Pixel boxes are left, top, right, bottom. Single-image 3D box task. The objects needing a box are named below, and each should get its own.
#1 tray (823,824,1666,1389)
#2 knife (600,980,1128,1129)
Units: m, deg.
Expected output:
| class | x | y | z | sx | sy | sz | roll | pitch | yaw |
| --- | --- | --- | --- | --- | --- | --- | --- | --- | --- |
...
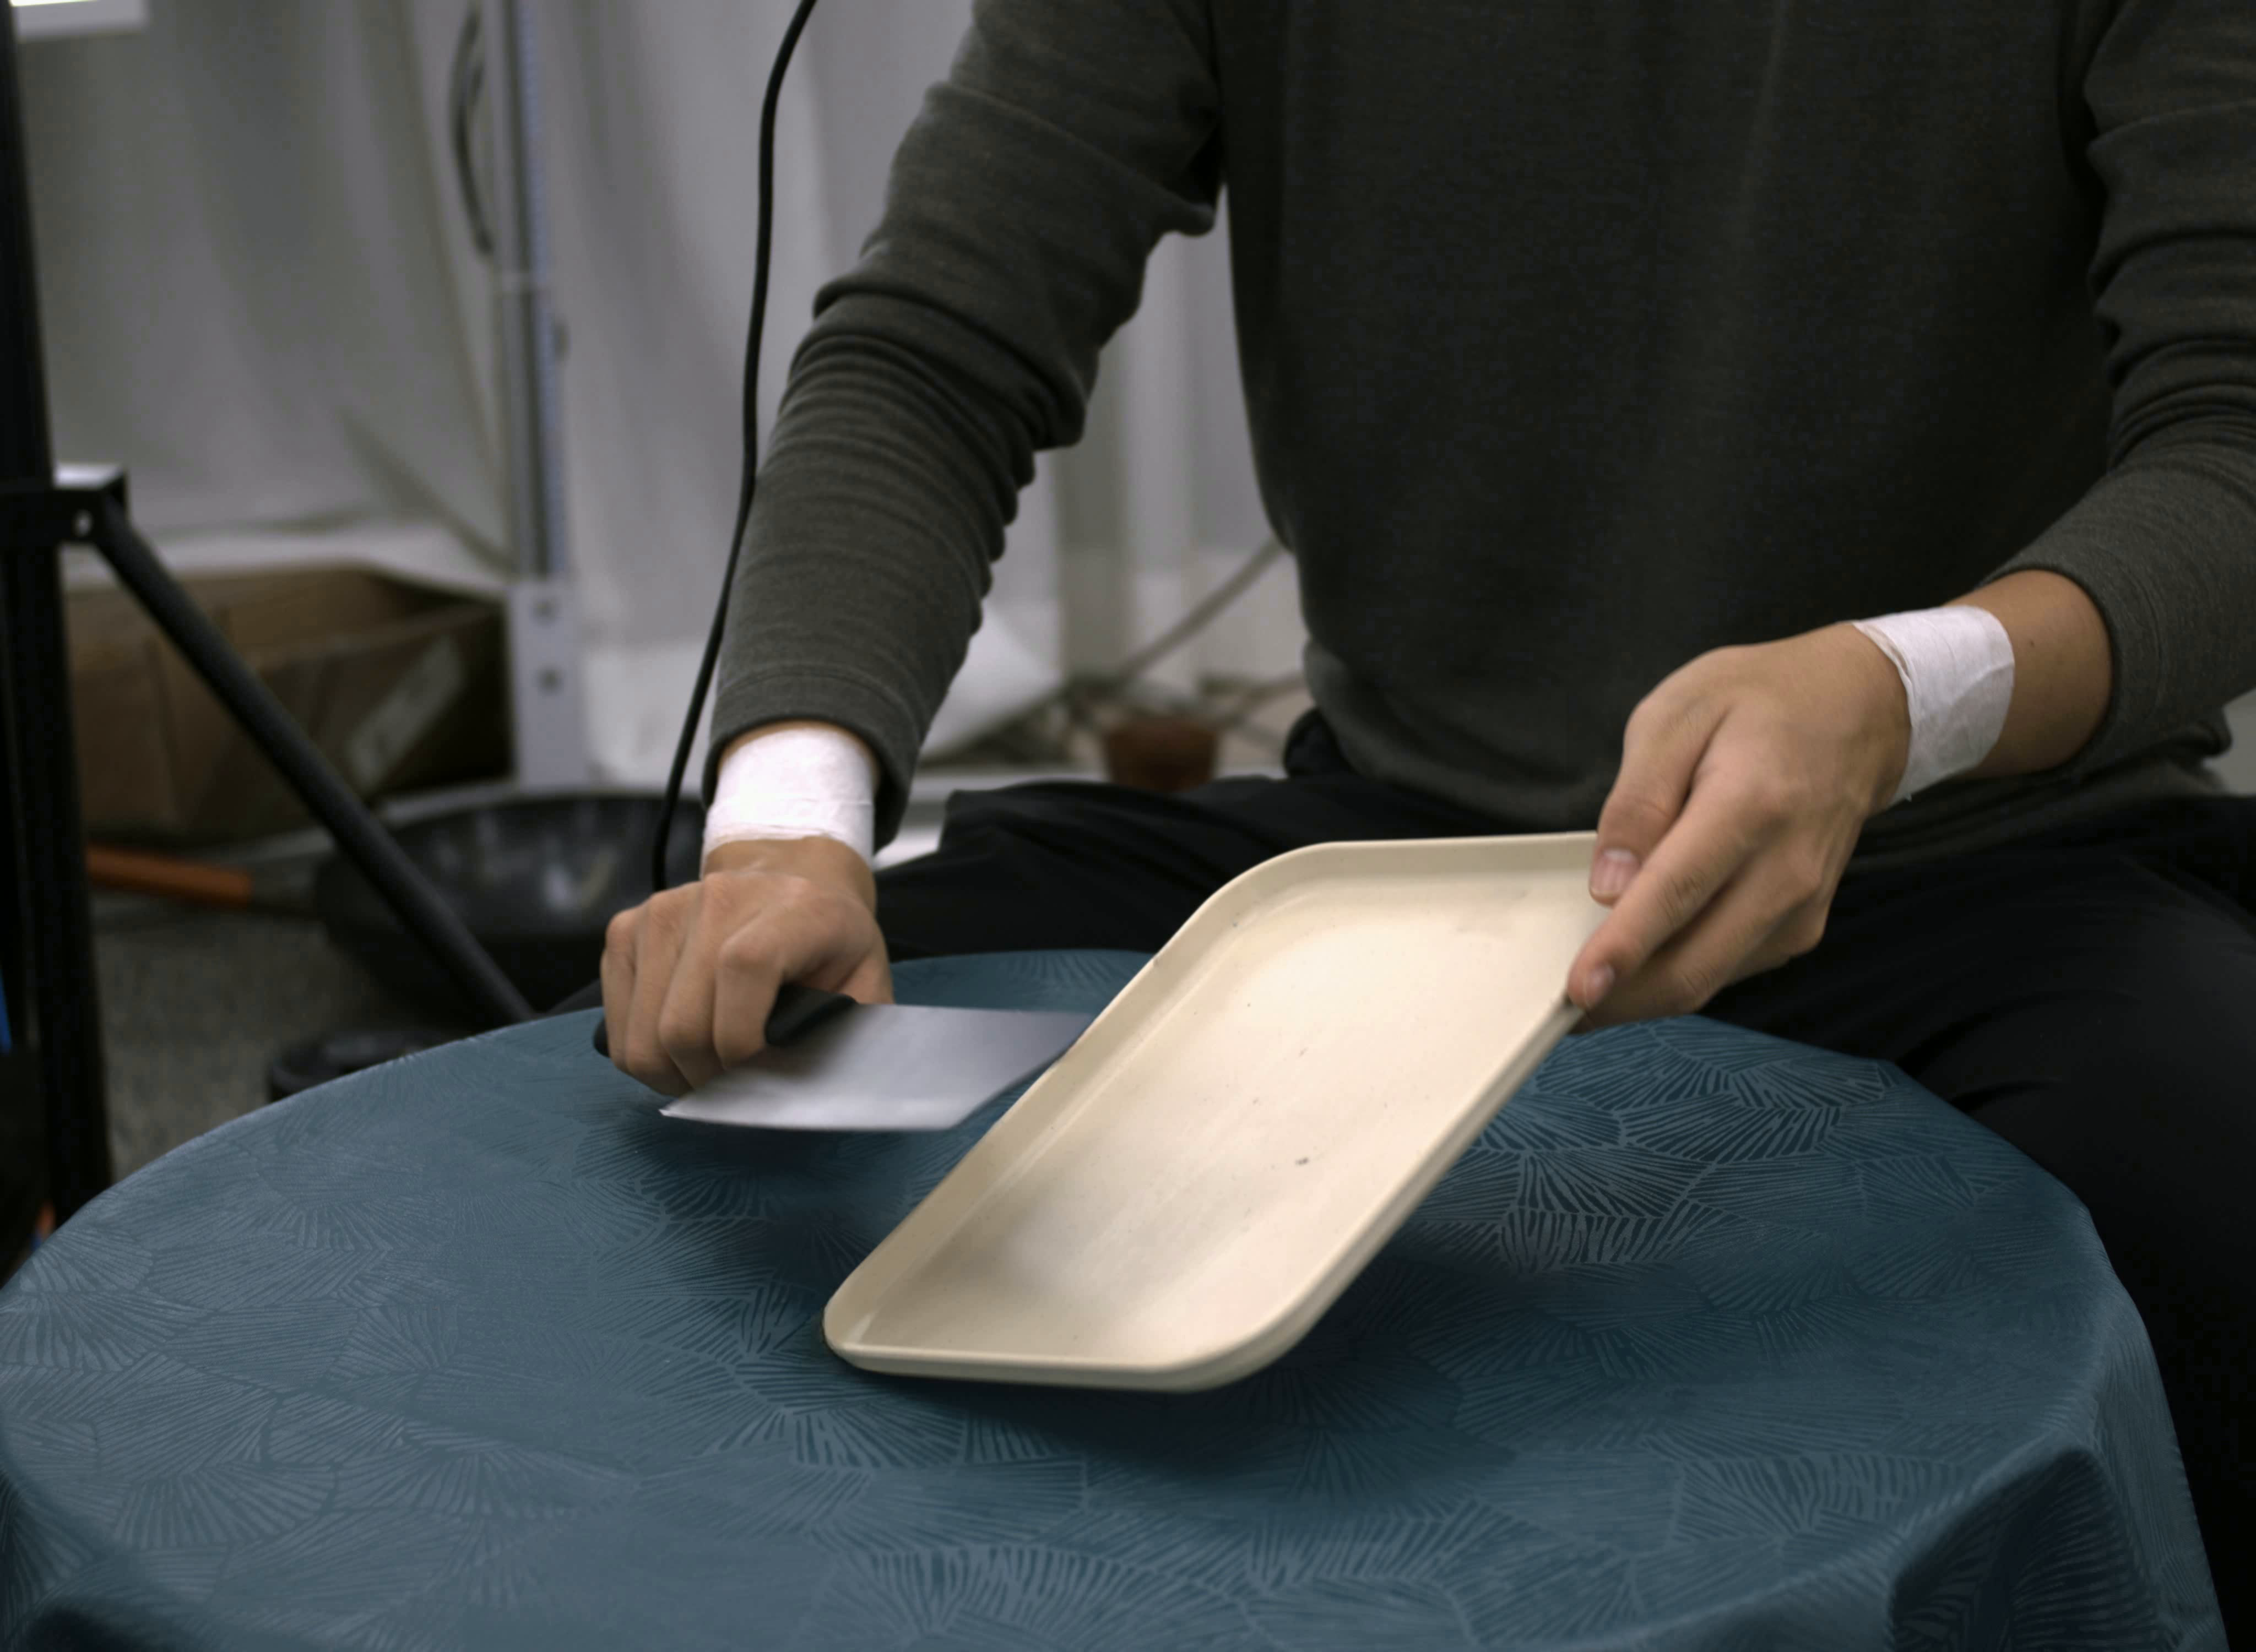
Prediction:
| class | x | y | z | sx | sy | sz | roll | pitch | yaw |
| --- | --- | --- | --- | --- | --- | --- | --- | --- | --- |
| tray | 0.035 | 0.076 | 1.452 | 0.175 | 0.017 | 0.237 | -3 | 33 | 45 |
| knife | -0.090 | 0.066 | 1.528 | 0.080 | 0.021 | 0.307 | -30 | 13 | -20 |
